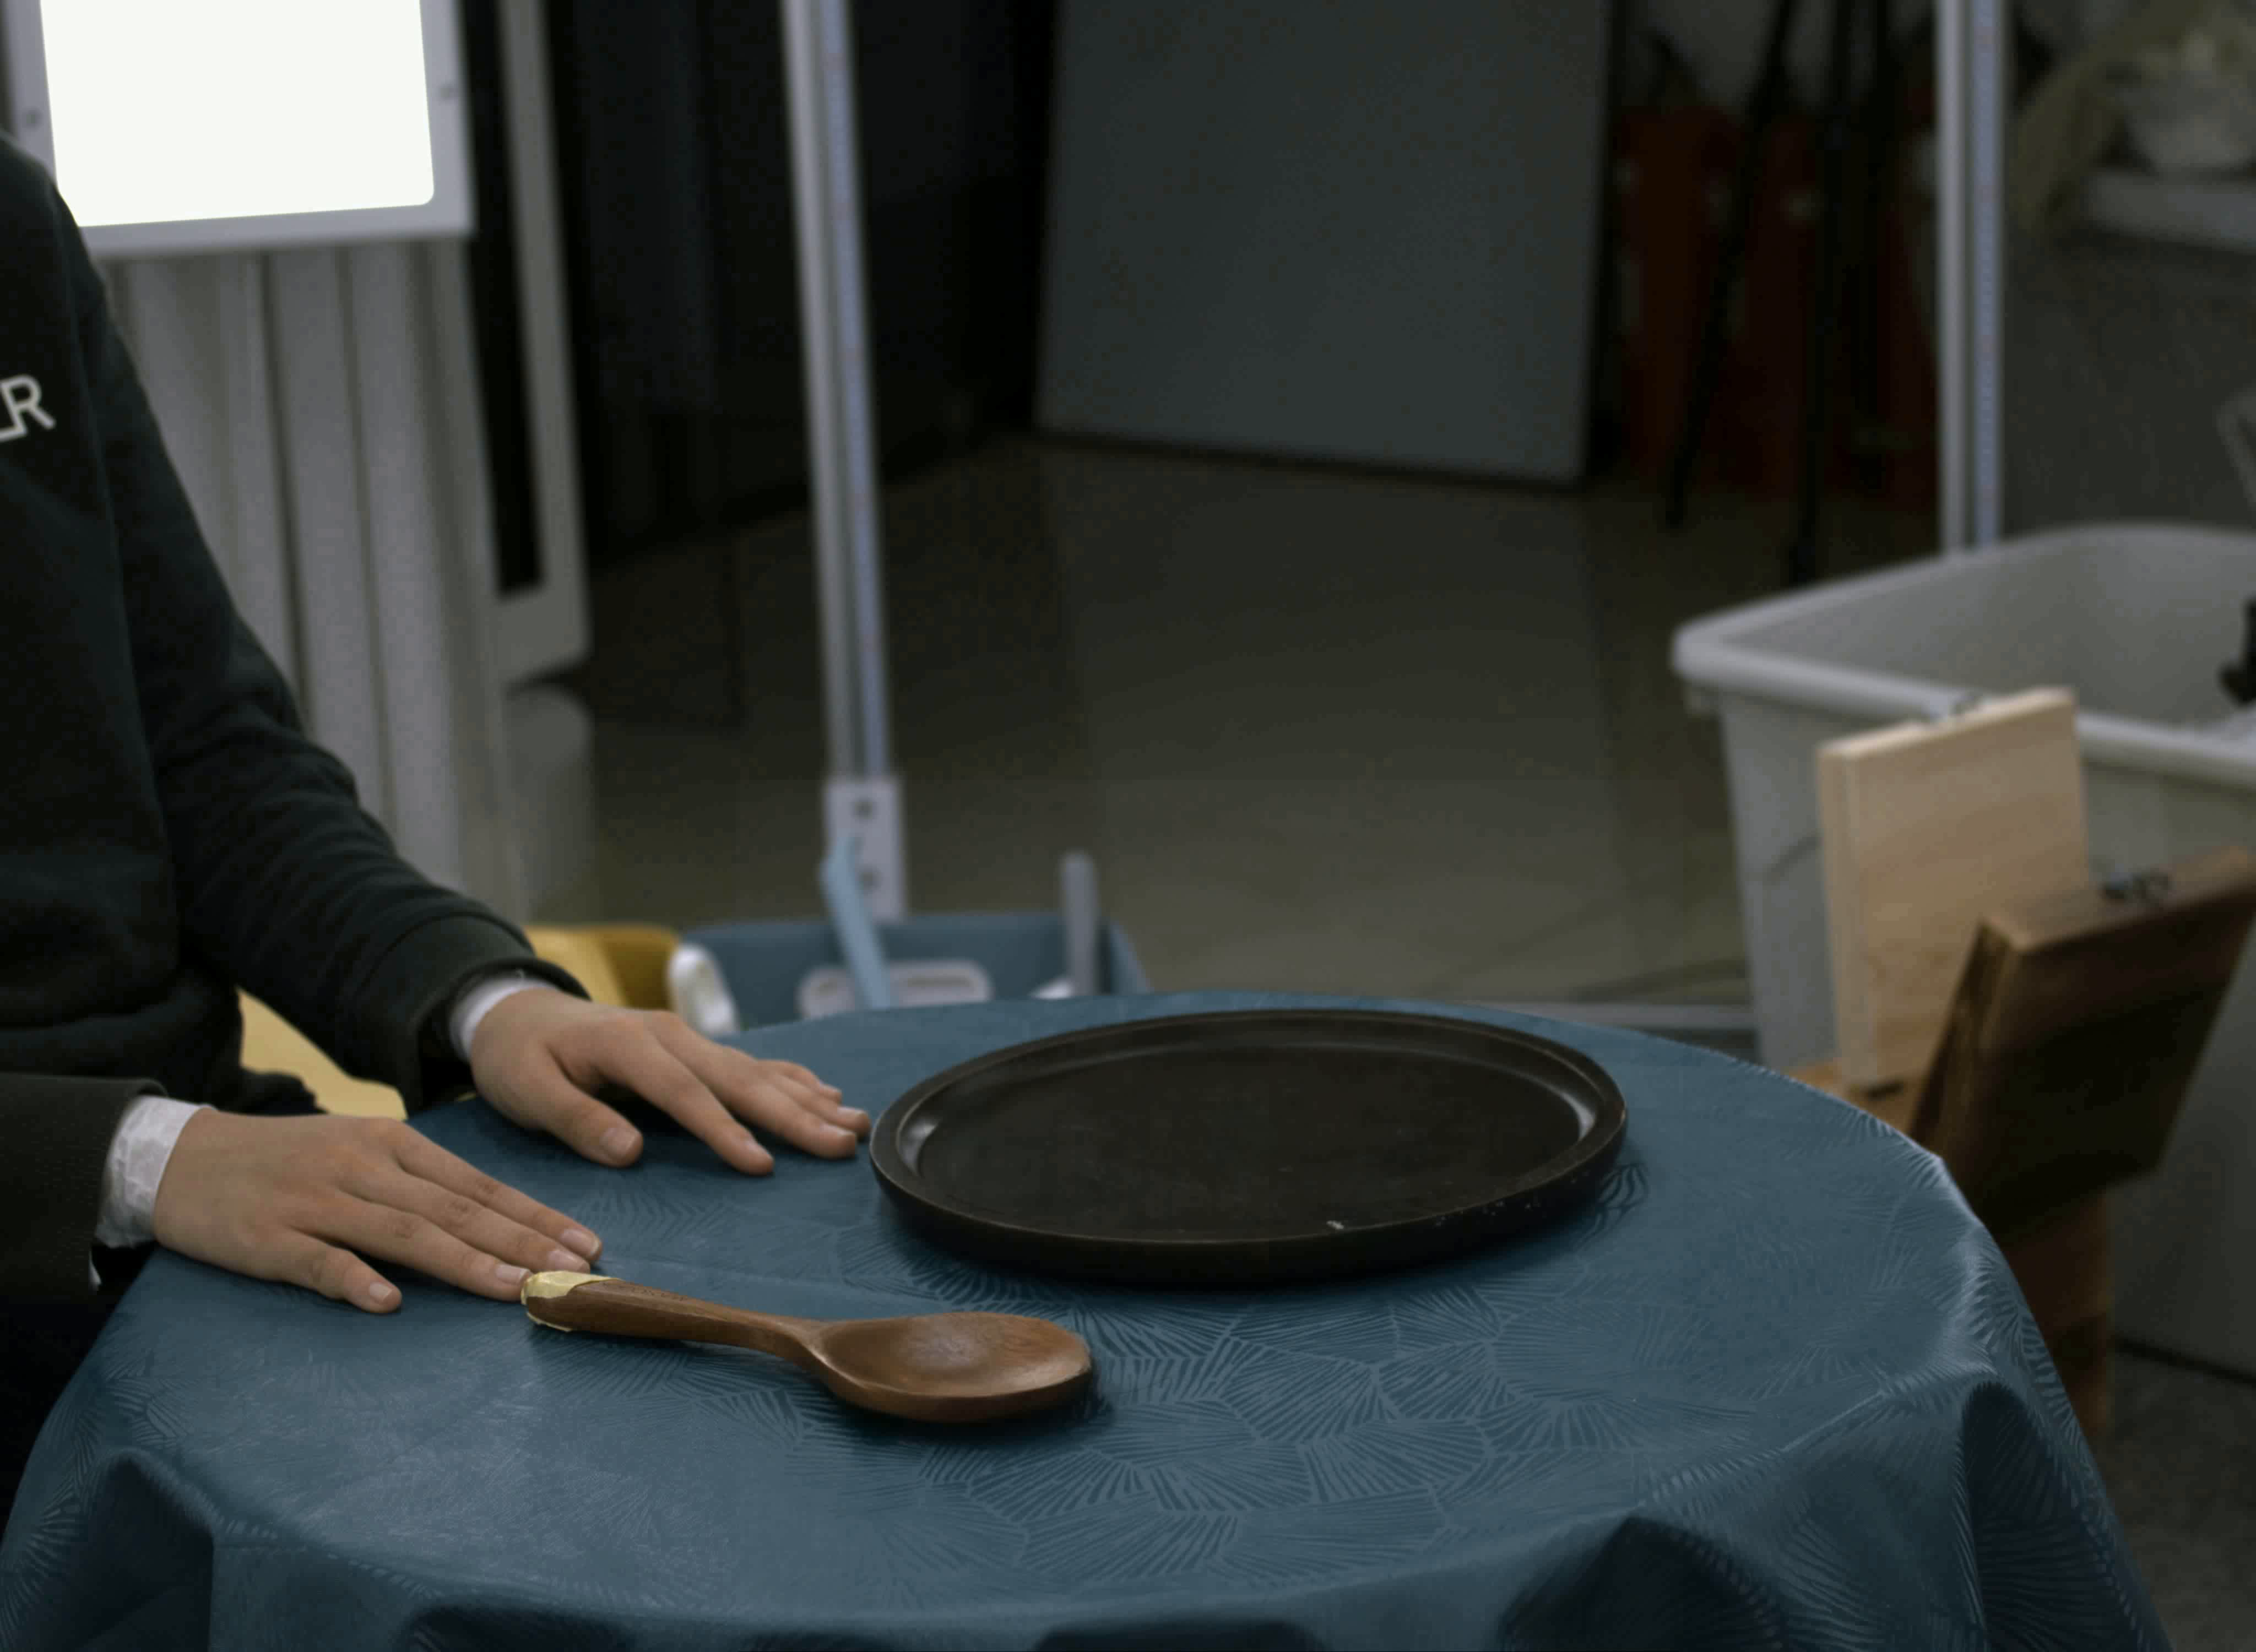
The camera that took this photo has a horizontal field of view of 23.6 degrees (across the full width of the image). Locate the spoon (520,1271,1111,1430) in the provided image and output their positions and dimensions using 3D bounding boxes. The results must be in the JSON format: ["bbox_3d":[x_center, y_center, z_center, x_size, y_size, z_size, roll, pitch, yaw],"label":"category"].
[{"bbox_3d":[-0.098,0.156,1.623,0.217,0.017,0.074,7,18,36],"label":"spoon"}]

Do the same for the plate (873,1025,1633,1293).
[{"bbox_3d":[0.041,0.106,1.773,0.251,0.029,0.255,-3,14,0],"label":"plate"}]
